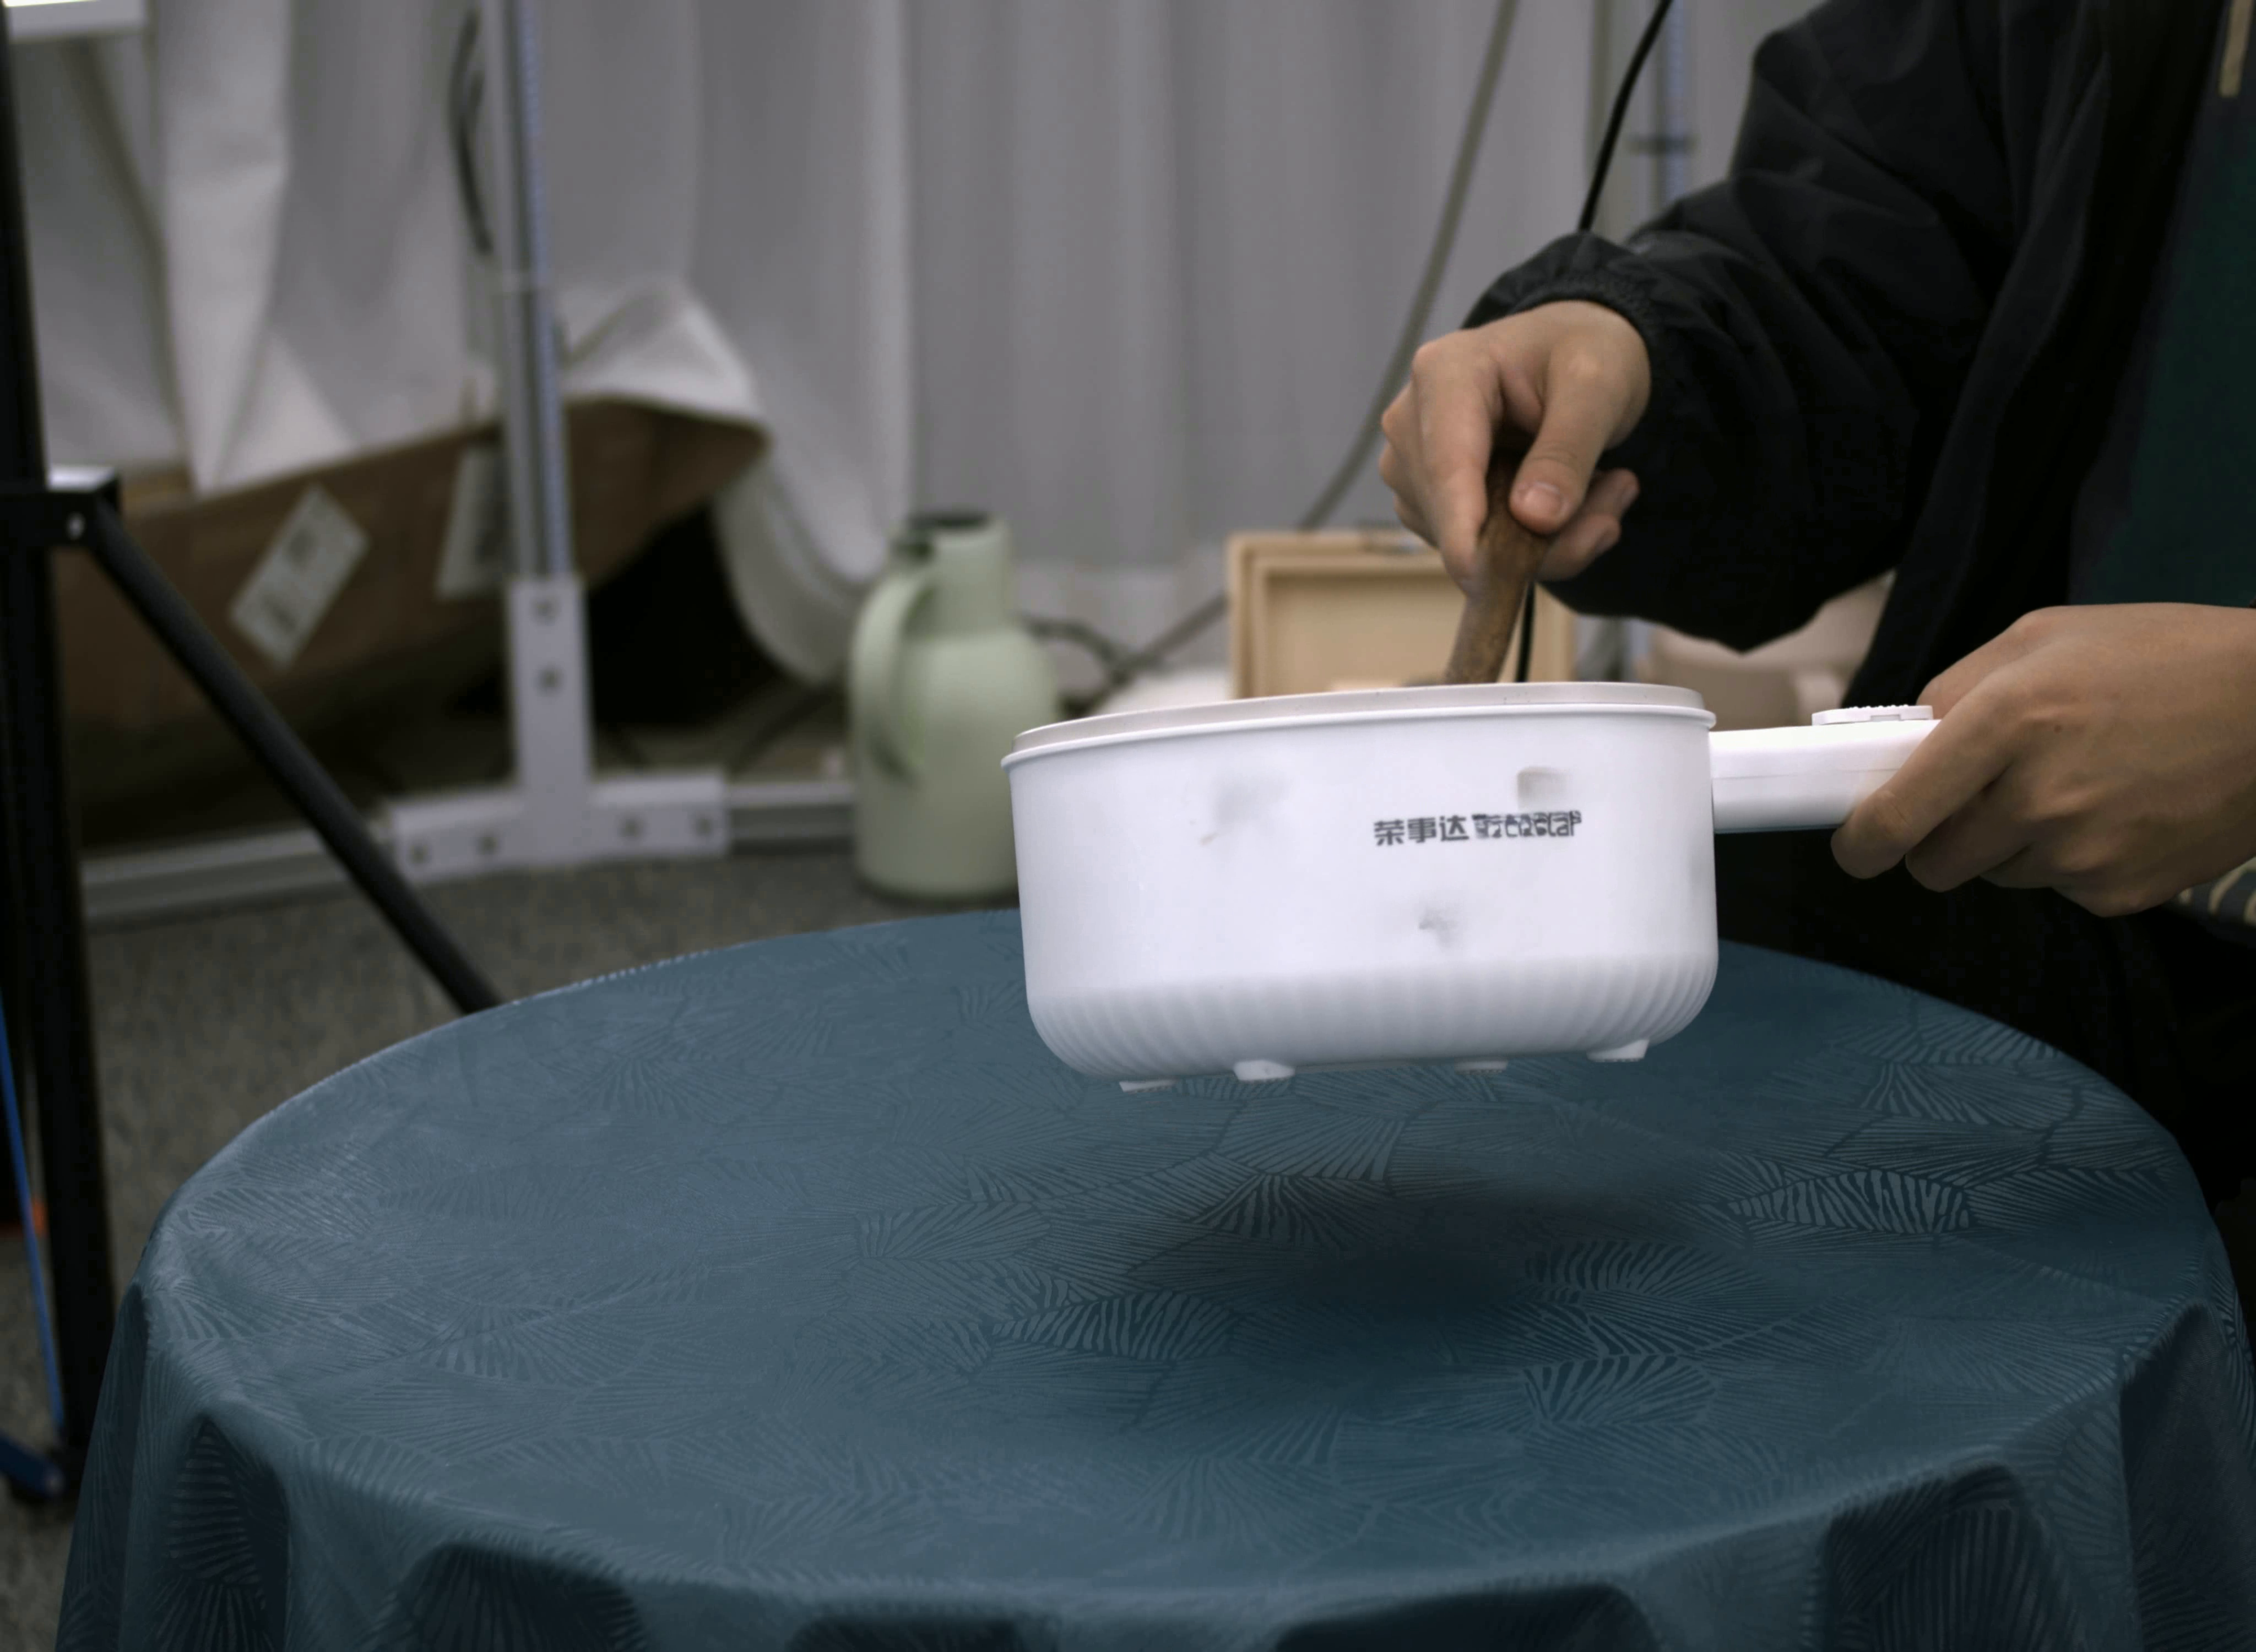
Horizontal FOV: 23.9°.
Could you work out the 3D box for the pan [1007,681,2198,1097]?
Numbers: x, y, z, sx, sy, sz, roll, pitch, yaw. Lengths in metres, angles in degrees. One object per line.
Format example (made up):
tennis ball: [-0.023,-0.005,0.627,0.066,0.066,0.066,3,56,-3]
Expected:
pan: [0.140,0.021,1.506,0.349,0.103,0.203,0,-5,-16]

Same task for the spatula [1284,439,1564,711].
spatula: [0.106,-0.059,1.625,0.096,0.016,0.385,33,22,-4]
